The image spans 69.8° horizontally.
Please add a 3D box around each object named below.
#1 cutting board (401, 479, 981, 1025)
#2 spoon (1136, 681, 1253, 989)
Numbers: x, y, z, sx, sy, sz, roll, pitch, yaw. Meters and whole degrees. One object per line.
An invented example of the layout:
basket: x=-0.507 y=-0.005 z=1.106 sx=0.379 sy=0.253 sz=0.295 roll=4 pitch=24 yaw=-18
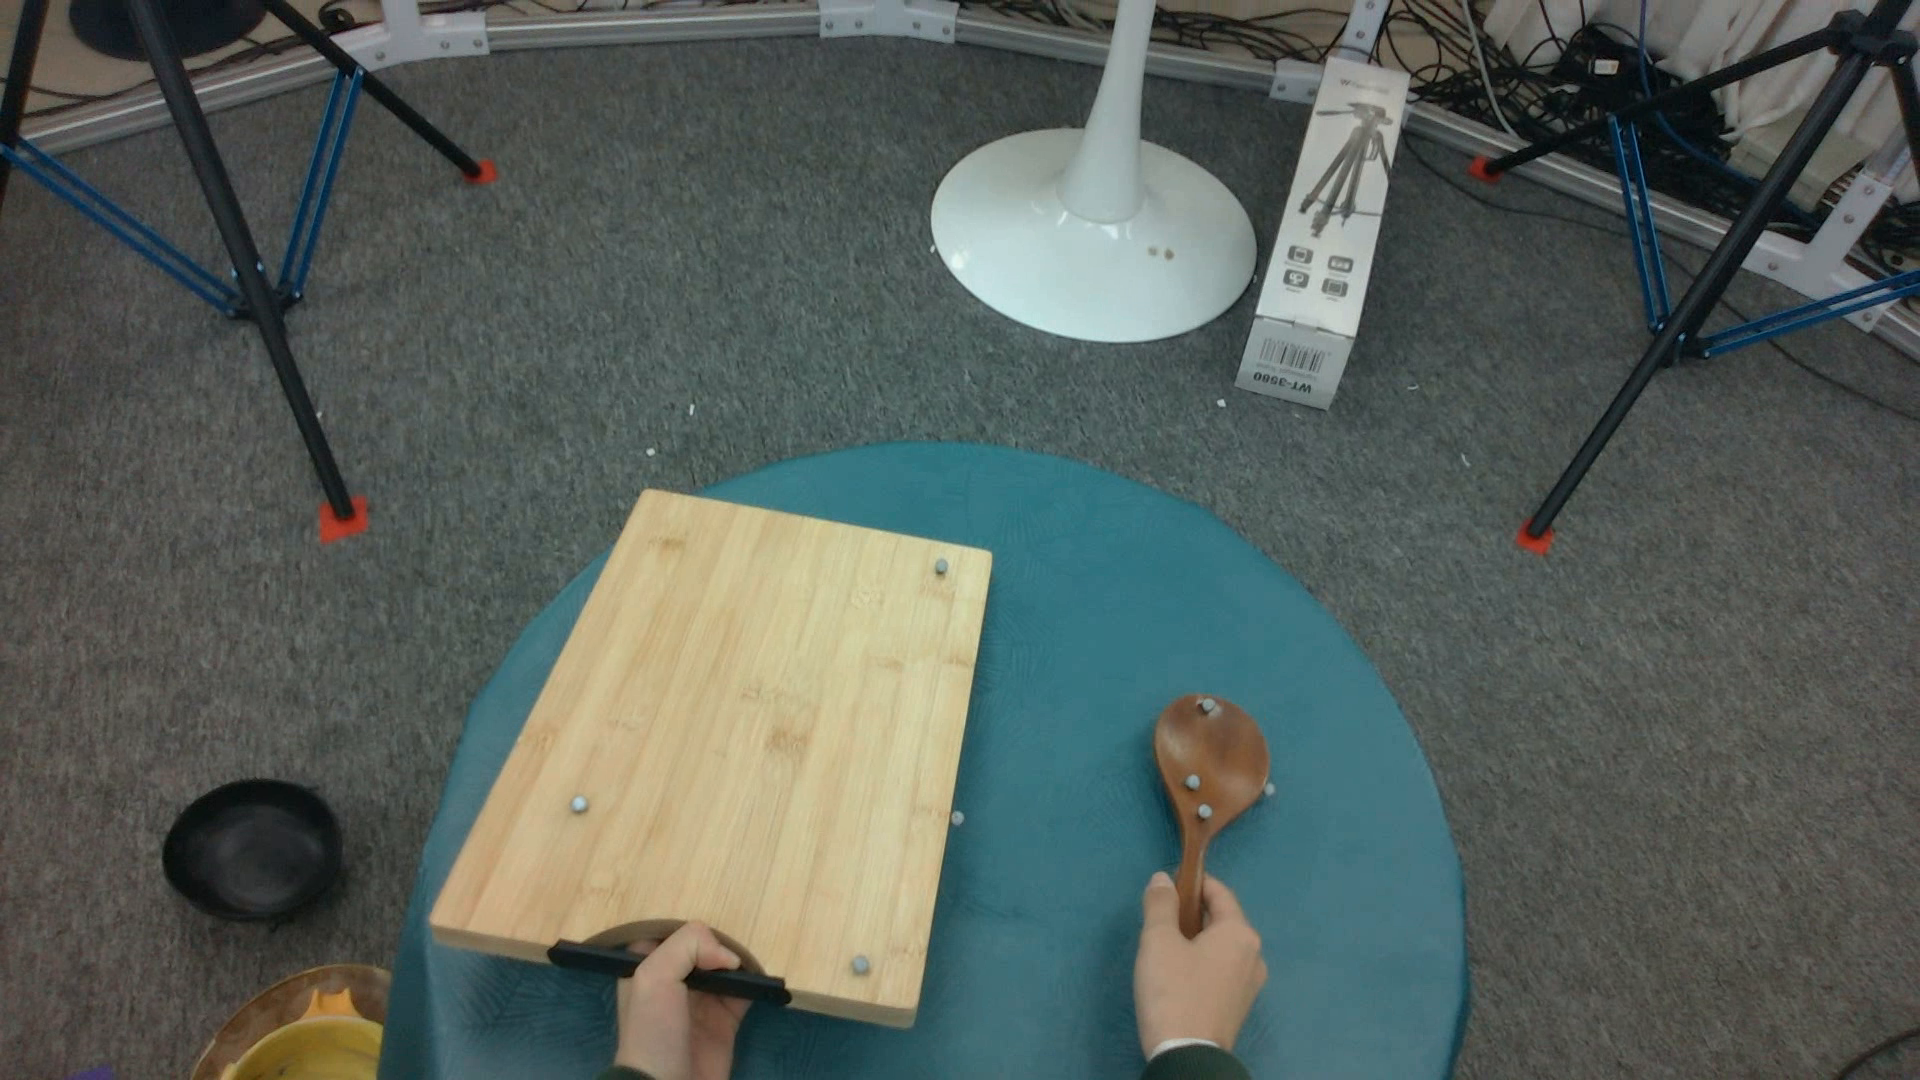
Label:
cutting board: x=-0.127 y=0.098 z=0.792 sx=0.251 sy=0.023 sz=0.350 roll=9 pitch=41 yaw=0
spoon: x=0.127 y=0.162 z=0.790 sx=0.075 sy=0.017 sz=0.217 roll=22 pitch=41 yaw=-1
